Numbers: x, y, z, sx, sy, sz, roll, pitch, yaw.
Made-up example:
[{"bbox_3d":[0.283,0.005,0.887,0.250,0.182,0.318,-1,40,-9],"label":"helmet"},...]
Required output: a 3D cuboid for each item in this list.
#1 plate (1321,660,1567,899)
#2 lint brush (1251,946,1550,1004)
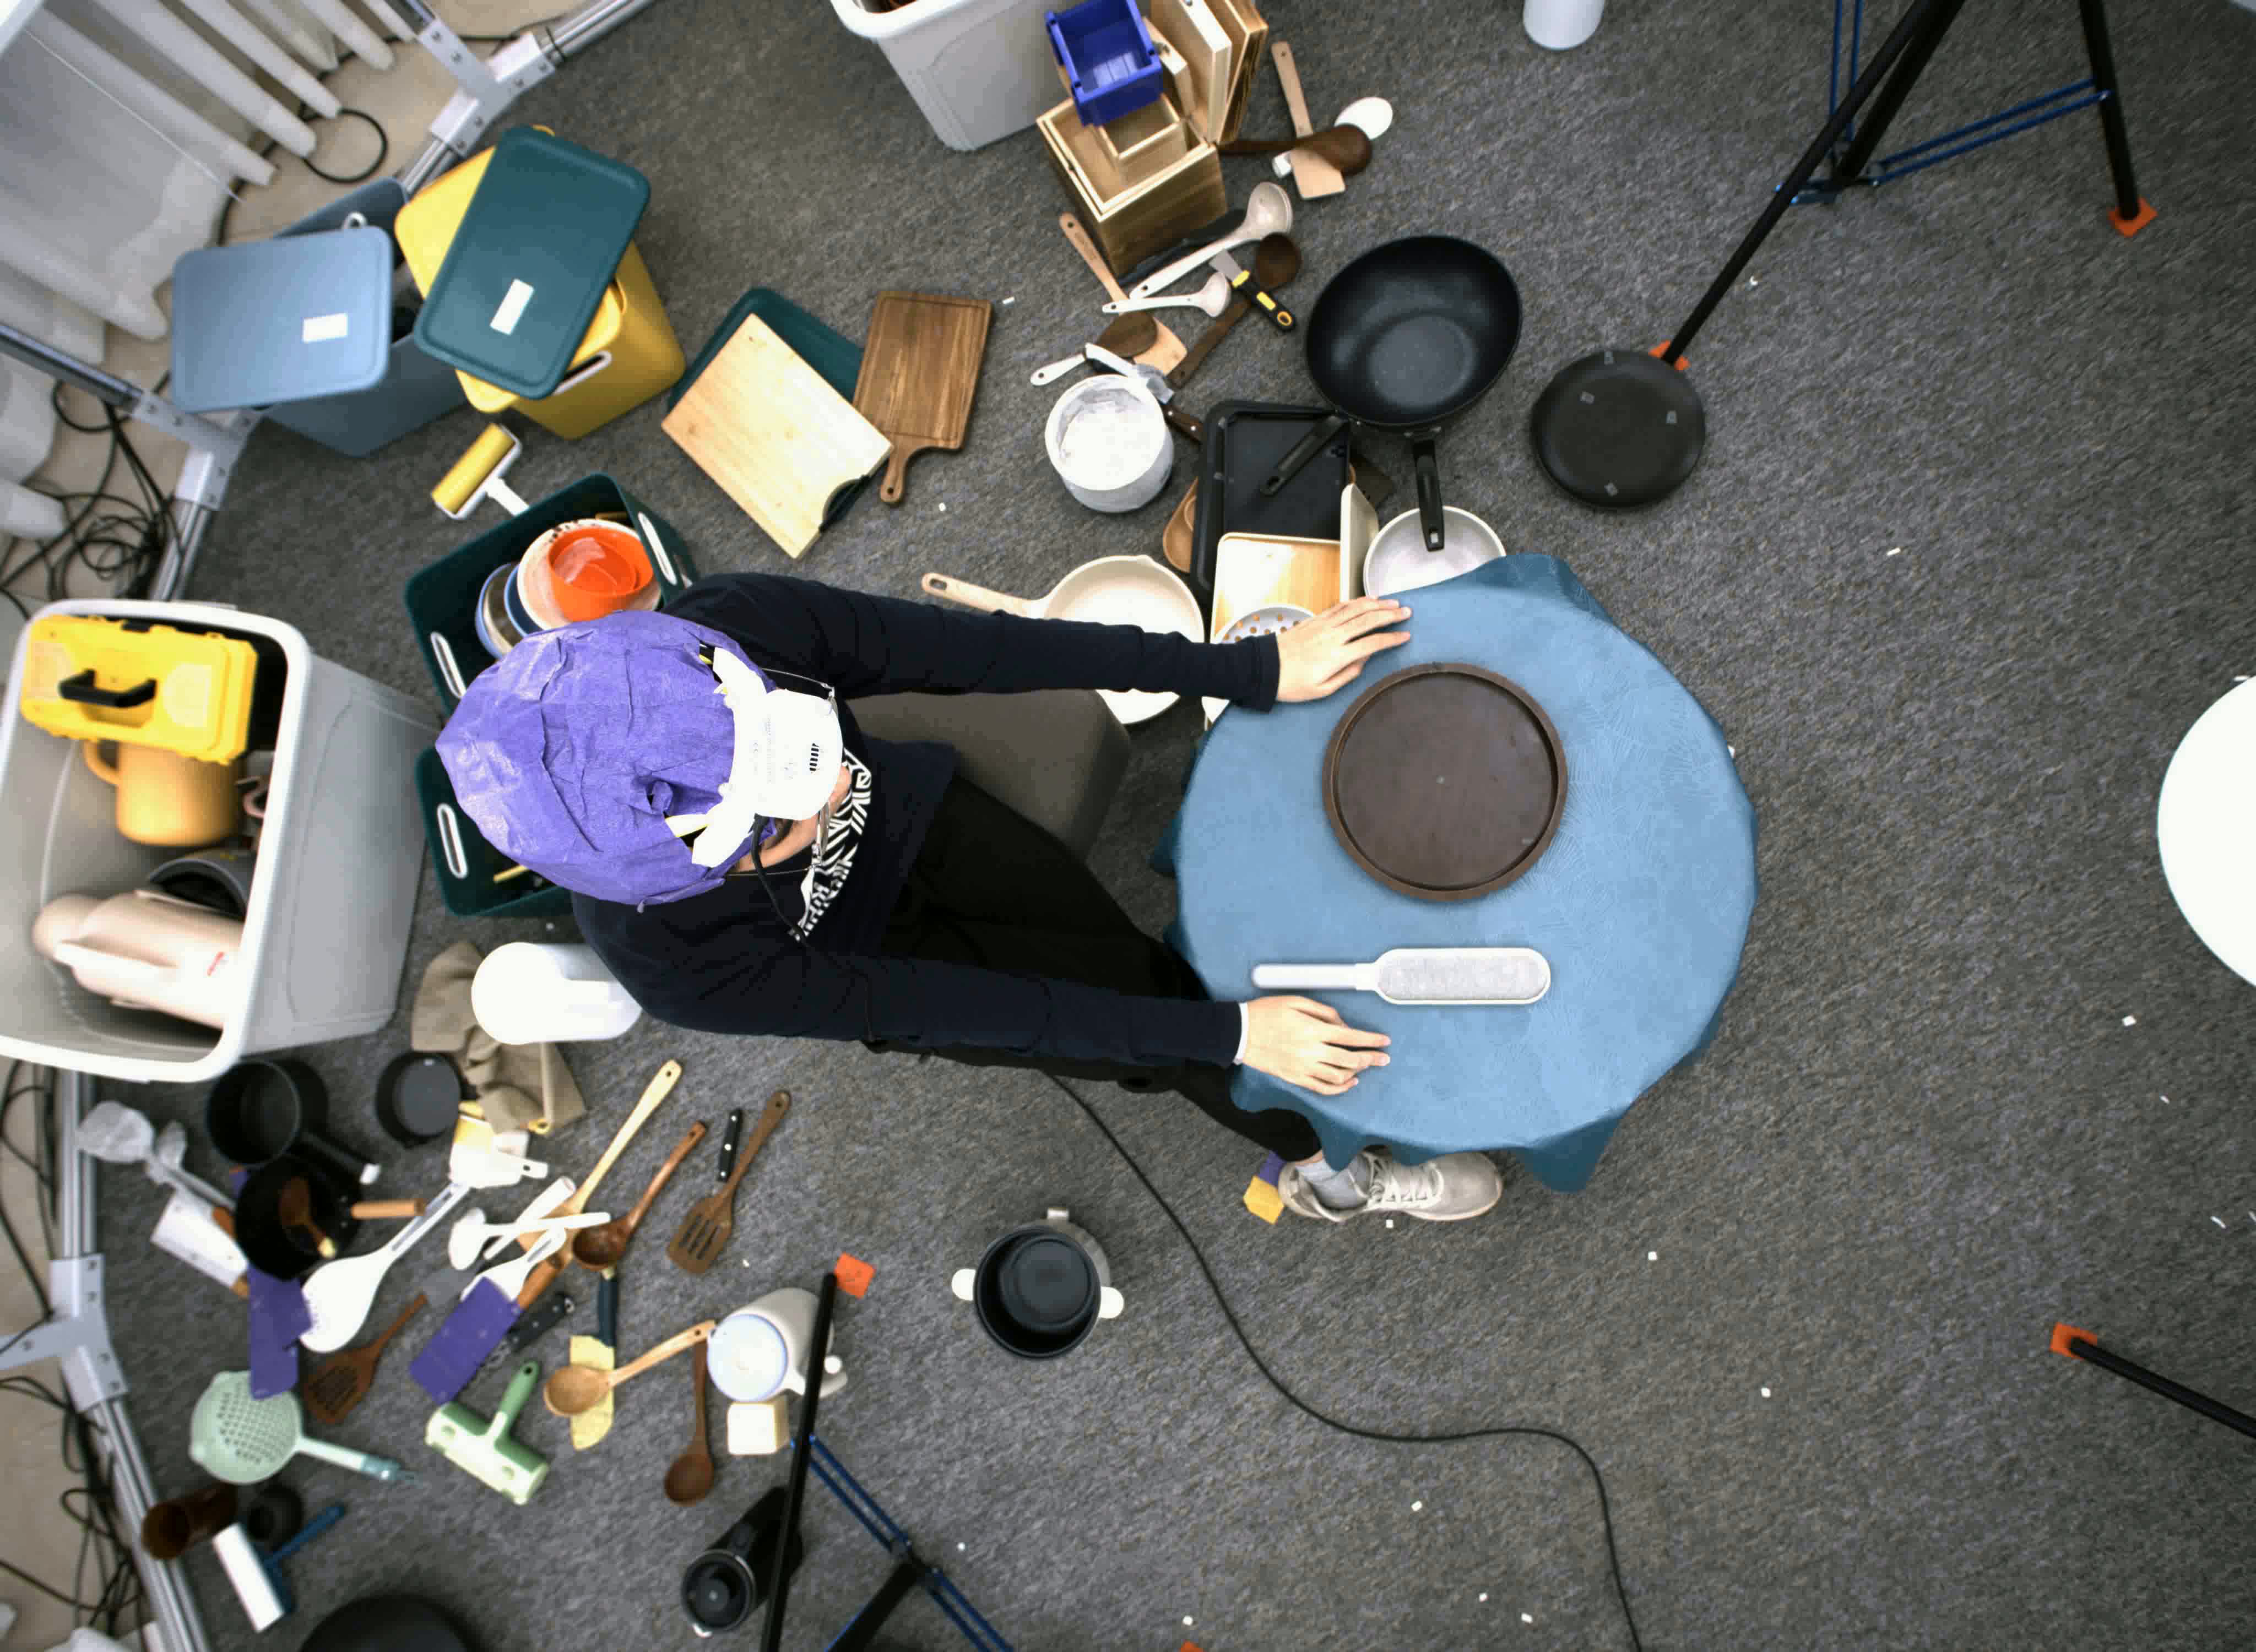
[{"bbox_3d":[0.330,-0.050,1.443,0.256,0.029,0.253,-1,85,10],"label":"plate"},{"bbox_3d":[0.282,0.153,1.440,0.310,0.021,0.060,-1,92,11],"label":"lint brush"}]
